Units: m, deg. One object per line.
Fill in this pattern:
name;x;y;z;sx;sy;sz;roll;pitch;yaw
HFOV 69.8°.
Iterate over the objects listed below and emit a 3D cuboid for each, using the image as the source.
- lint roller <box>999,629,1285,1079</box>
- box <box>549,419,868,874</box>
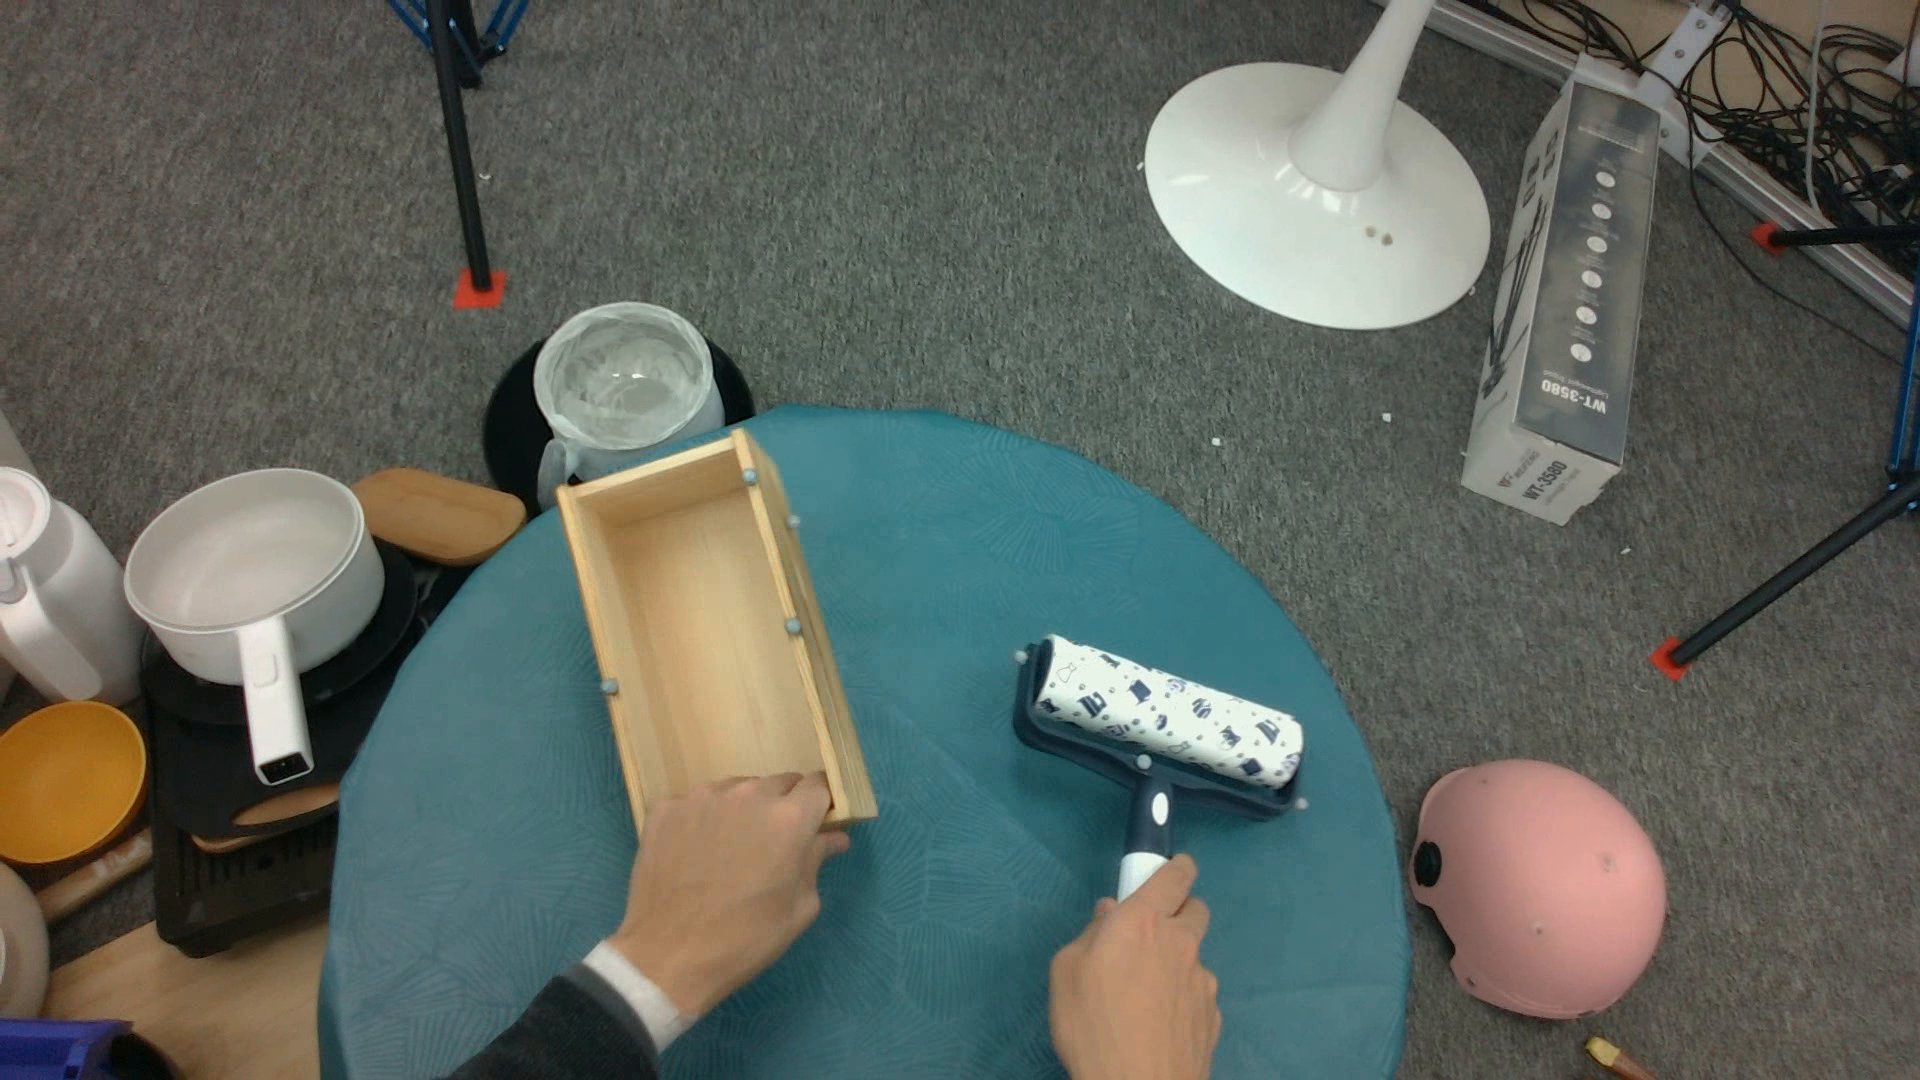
lint roller;0.096;0.178;0.742;0.176;0.050;0.248;20;52;-15
box;-0.133;0.057;0.733;0.107;0.080;0.212;-18;77;3
